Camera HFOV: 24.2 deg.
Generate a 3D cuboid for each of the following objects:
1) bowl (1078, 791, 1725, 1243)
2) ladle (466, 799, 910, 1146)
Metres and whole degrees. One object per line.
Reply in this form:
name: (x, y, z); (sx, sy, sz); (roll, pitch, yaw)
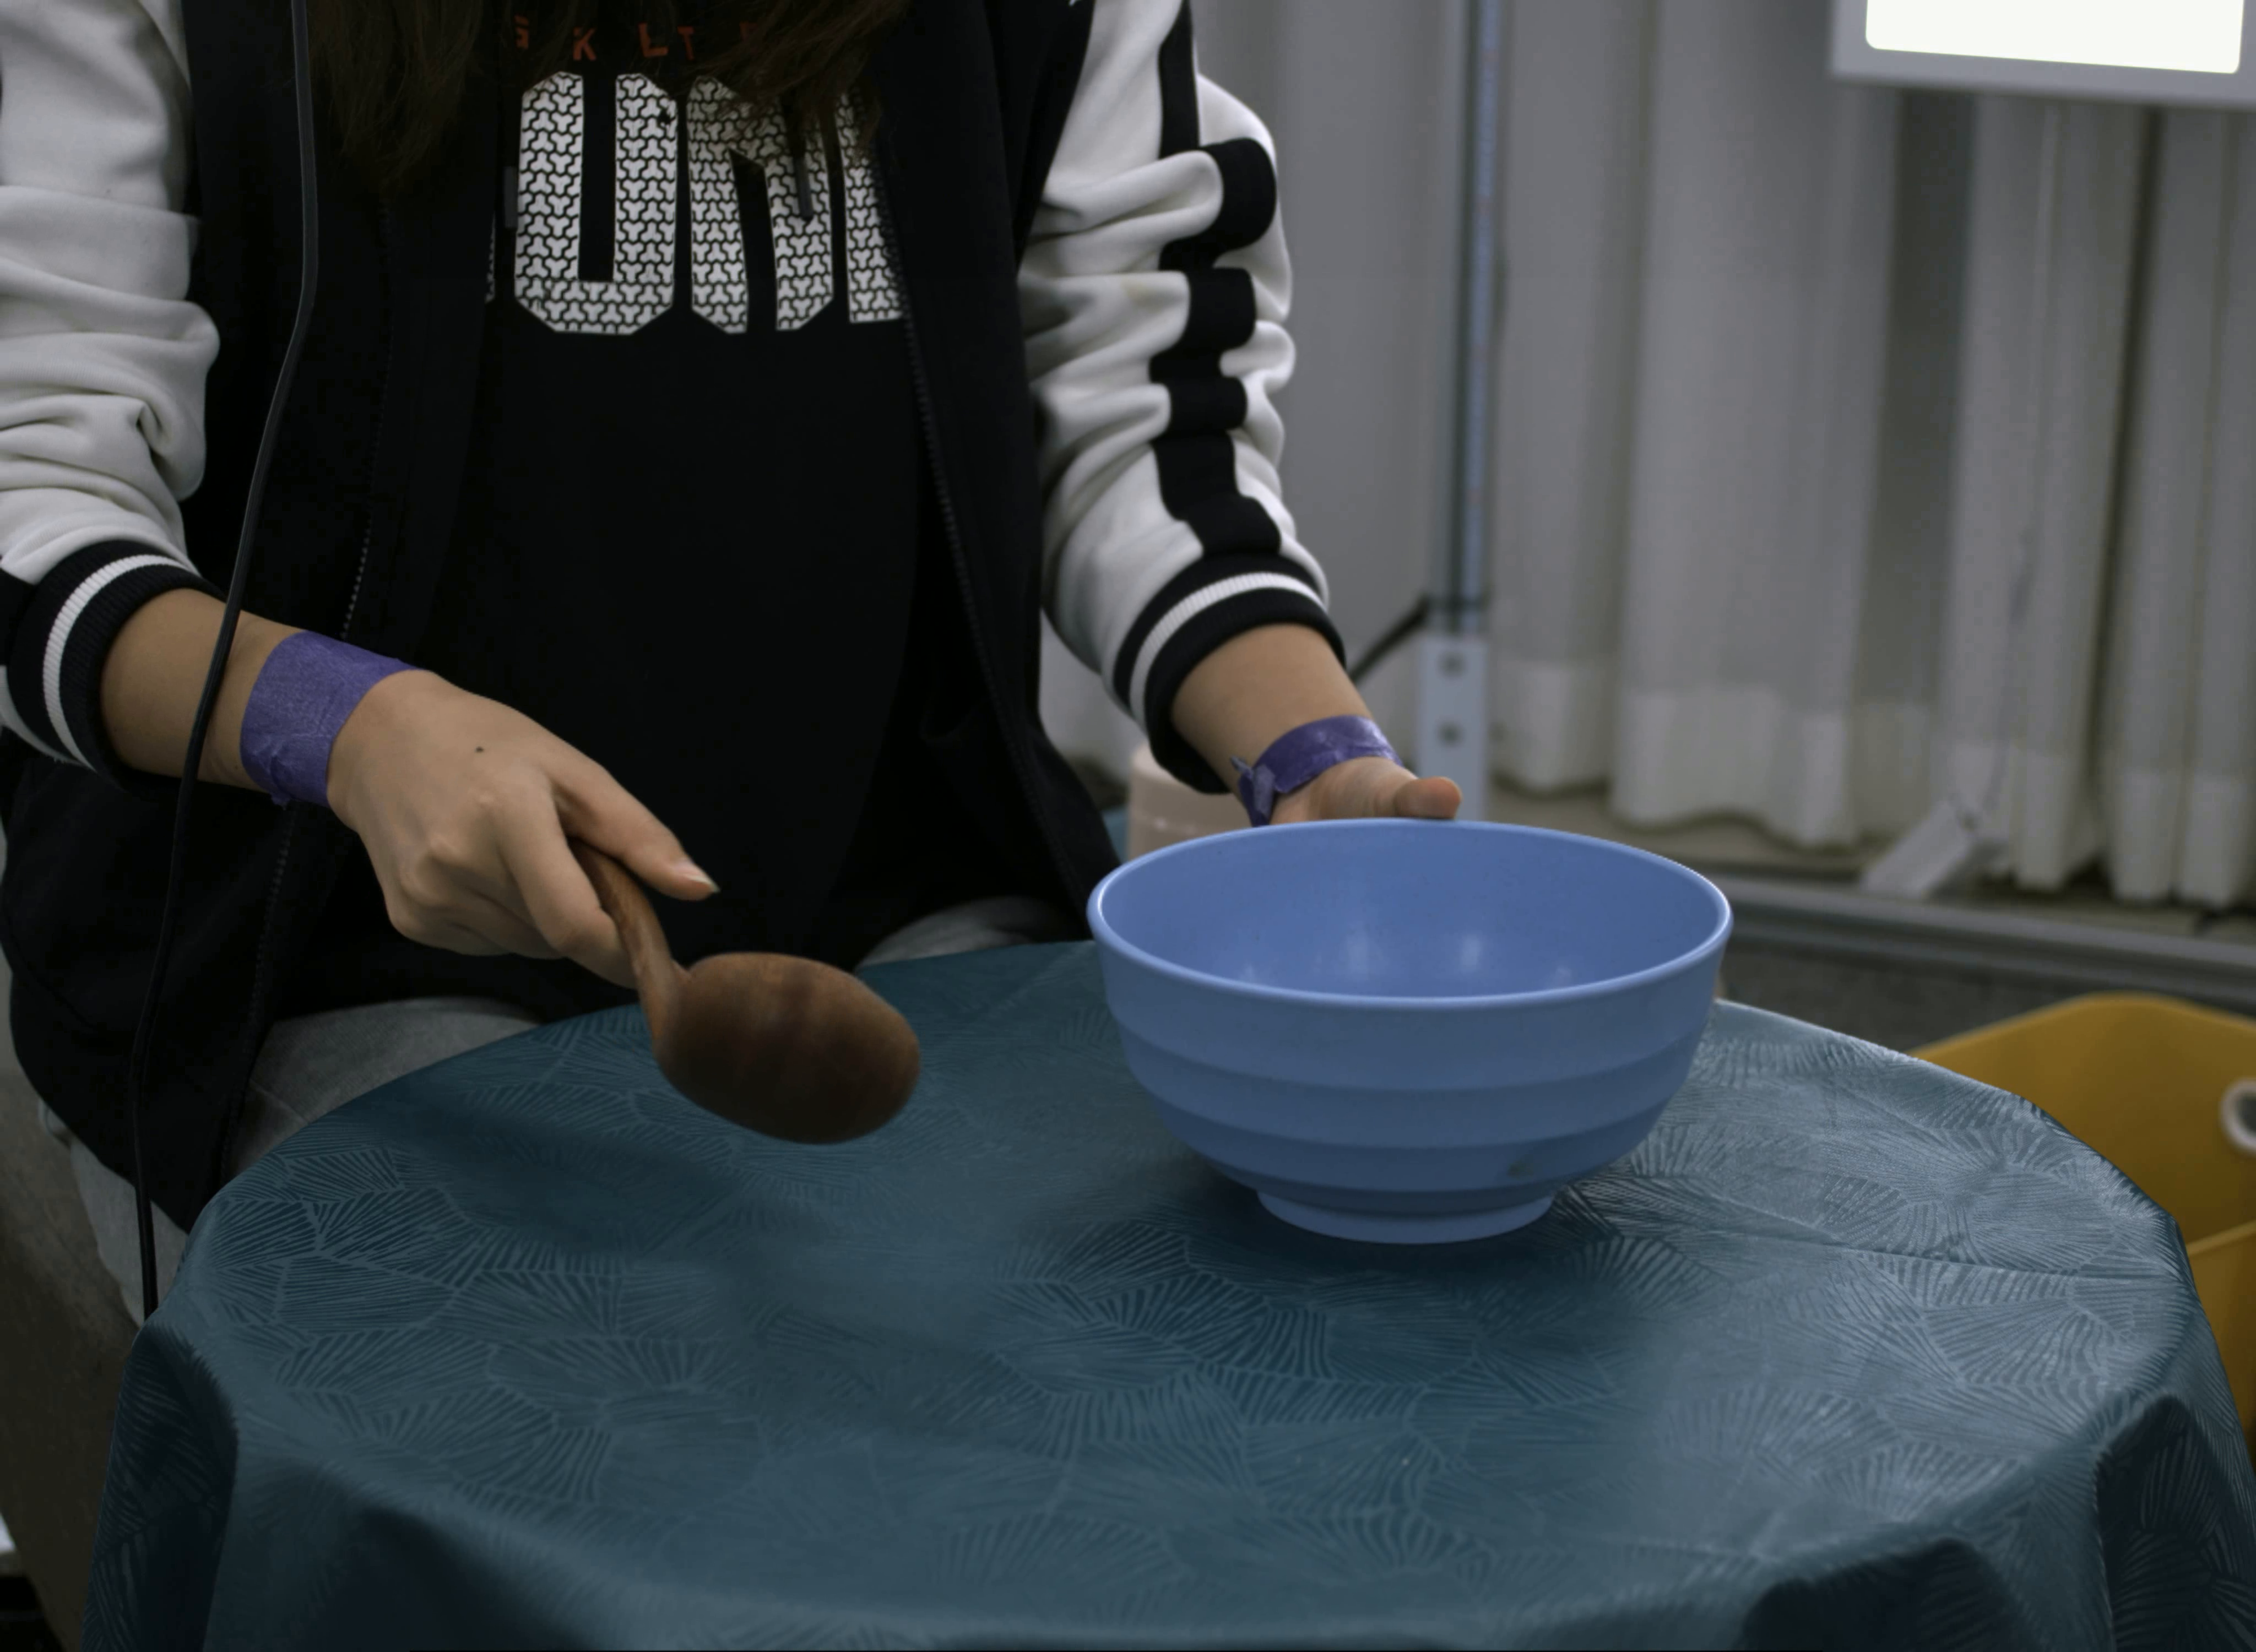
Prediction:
bowl: (0.085, 0.066, 1.615); (0.196, 0.096, 0.195); (-2, 21, 1)
ladle: (-0.136, 0.027, 1.556); (0.065, 0.077, 0.257); (-45, 31, -1)
